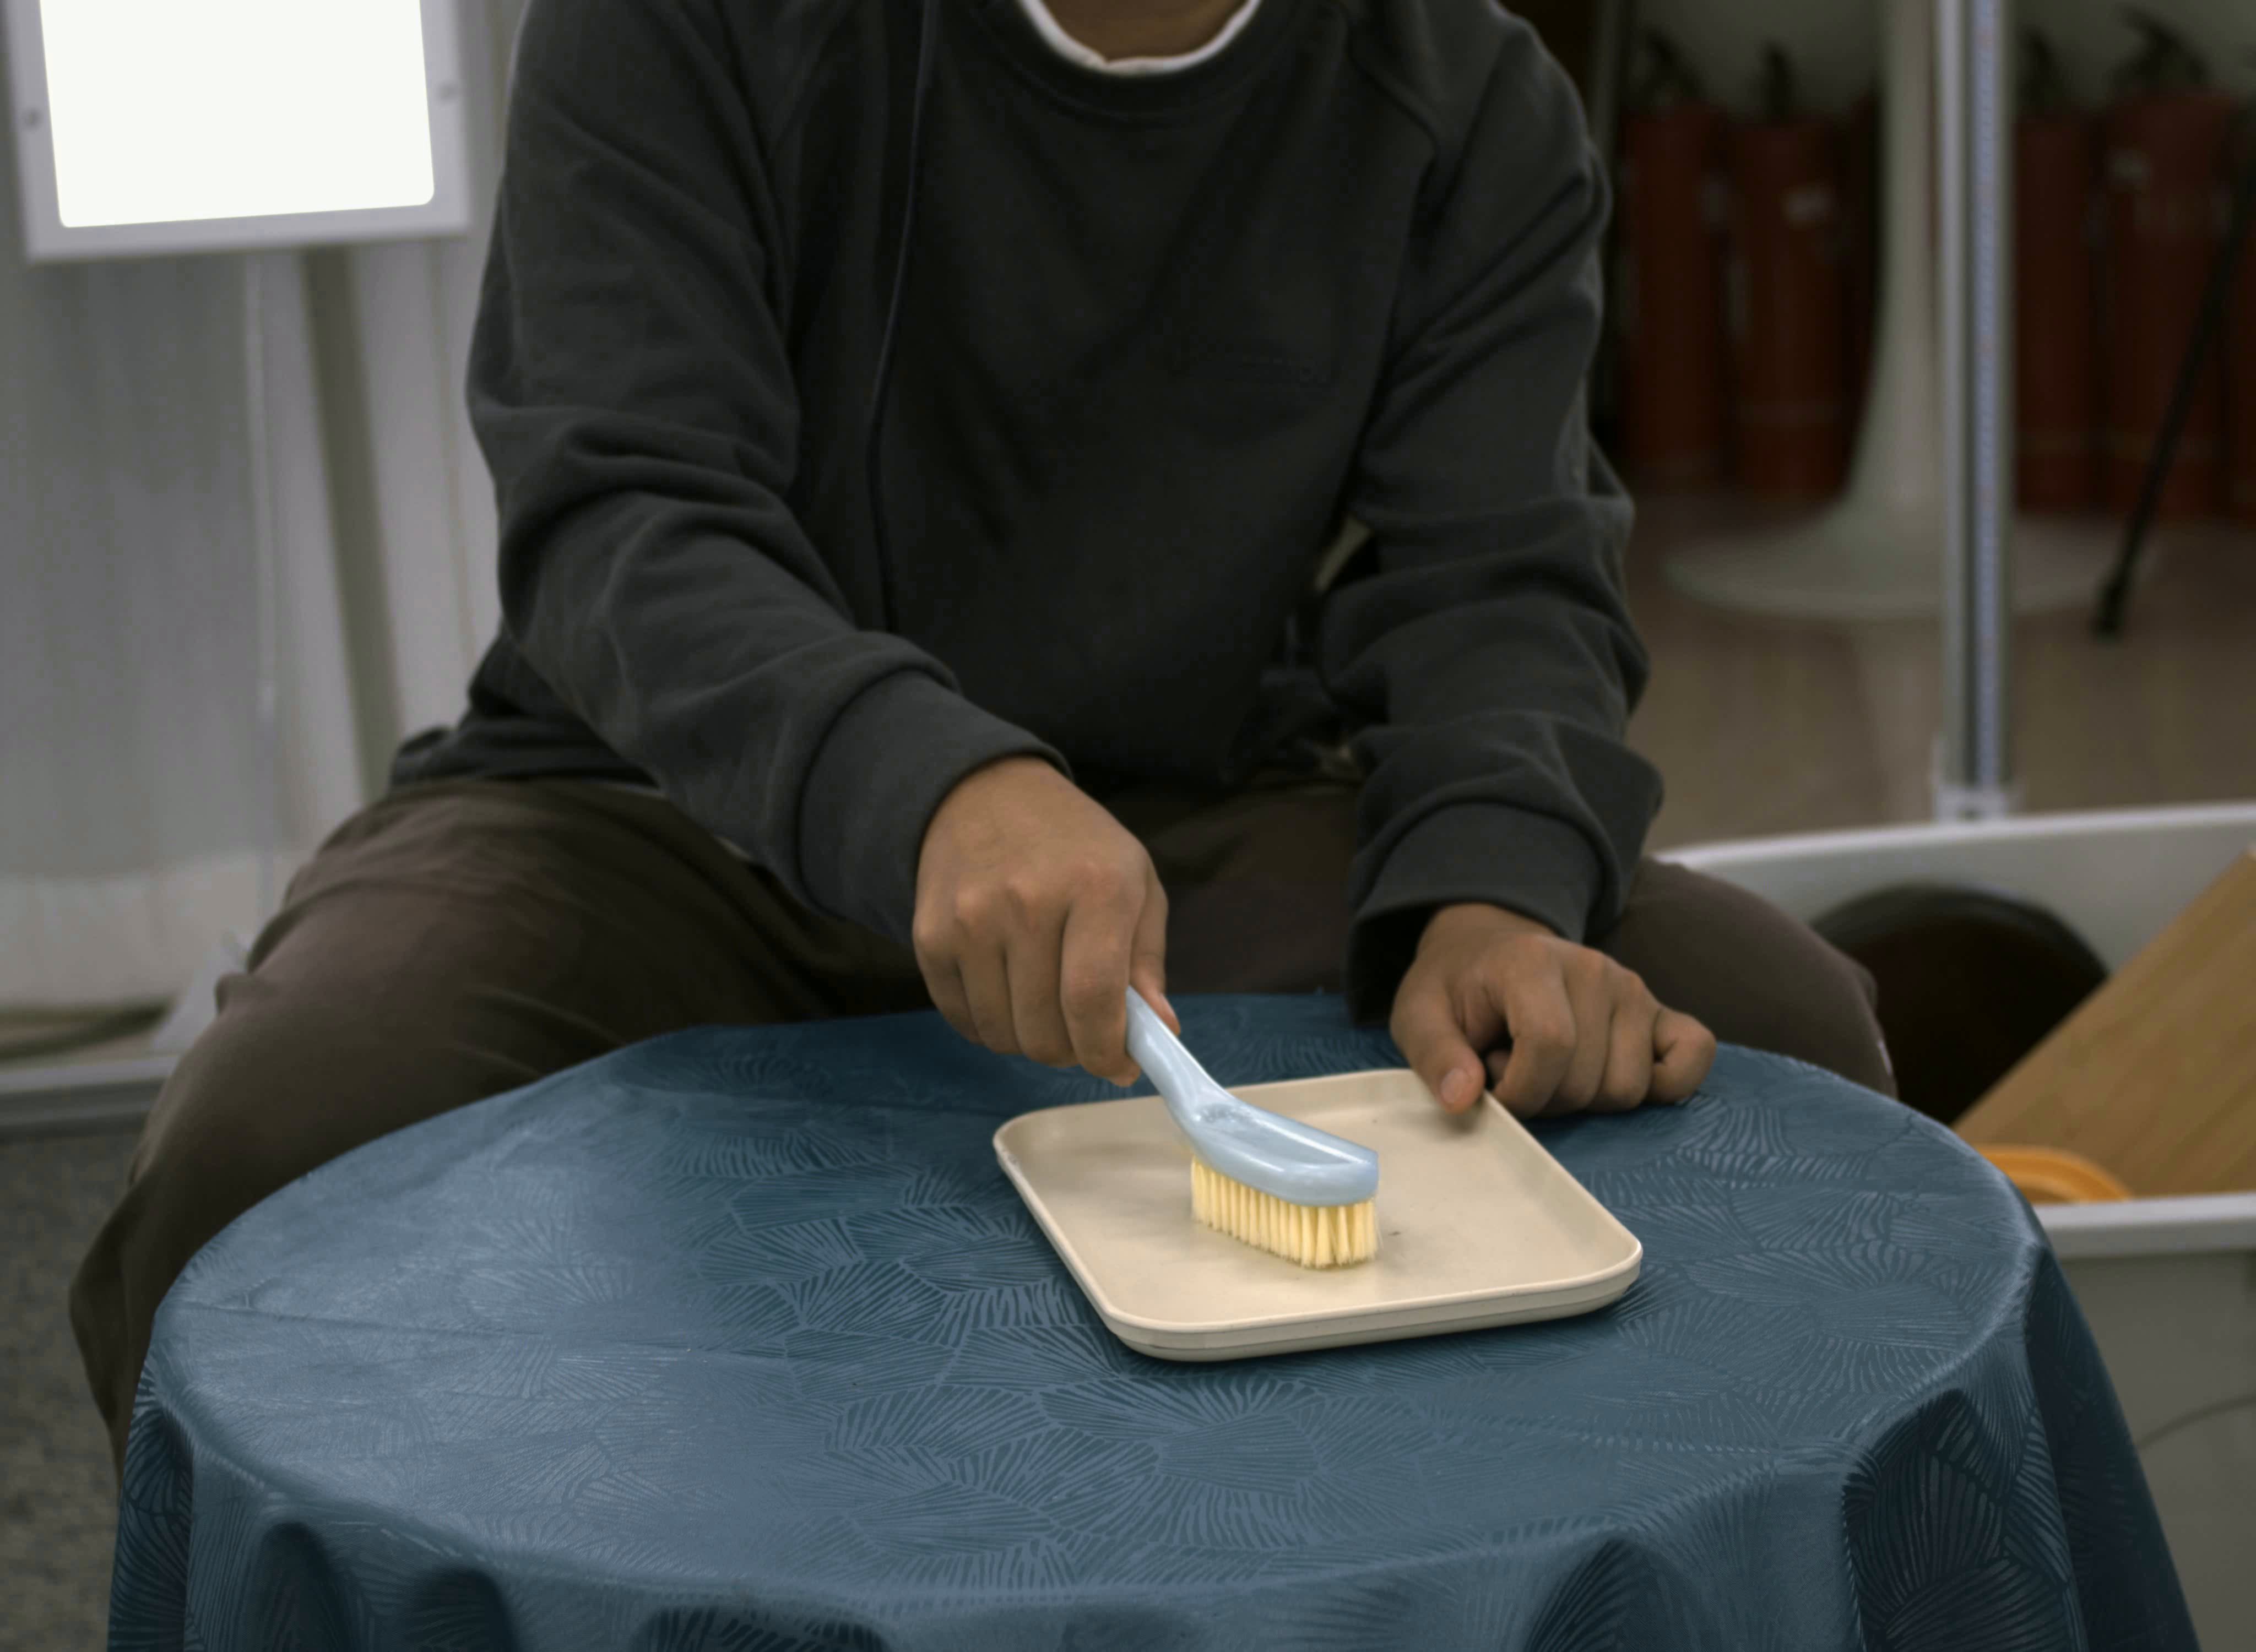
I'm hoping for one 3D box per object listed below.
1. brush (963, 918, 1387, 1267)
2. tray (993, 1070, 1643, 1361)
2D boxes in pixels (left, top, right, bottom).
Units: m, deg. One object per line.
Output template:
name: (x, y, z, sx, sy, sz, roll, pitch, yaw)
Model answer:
brush: (0.010, 0.085, 1.757, 0.037, 0.050, 0.231, -12, 28, -31)
tray: (0.056, 0.123, 1.713, 0.168, 0.017, 0.241, -6, 14, -10)
